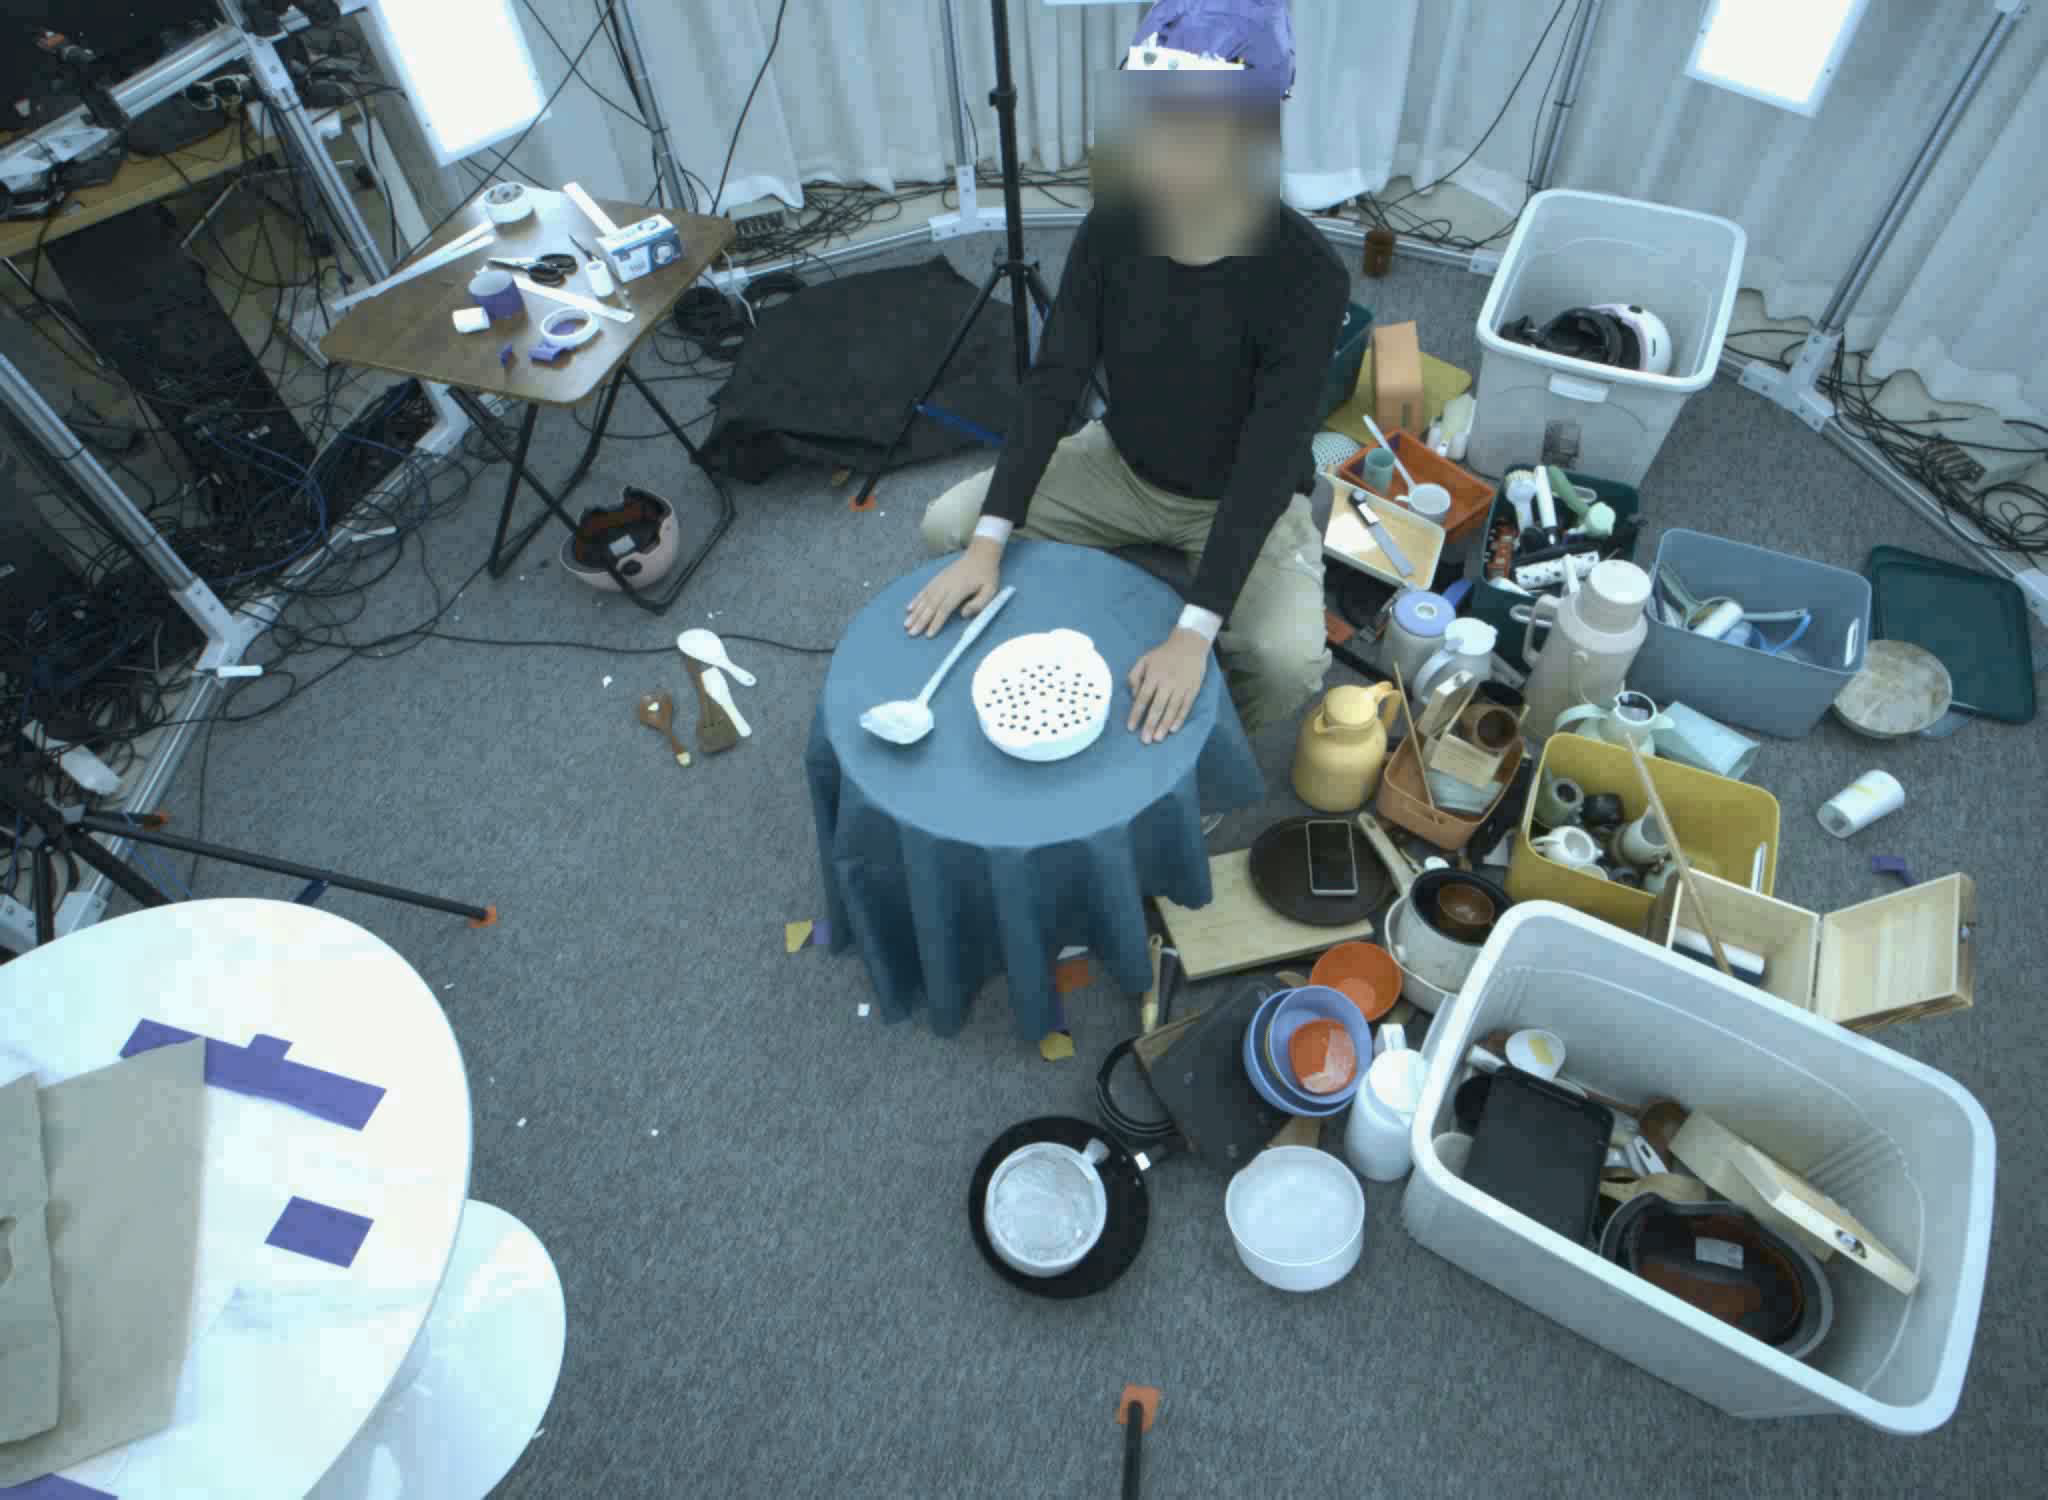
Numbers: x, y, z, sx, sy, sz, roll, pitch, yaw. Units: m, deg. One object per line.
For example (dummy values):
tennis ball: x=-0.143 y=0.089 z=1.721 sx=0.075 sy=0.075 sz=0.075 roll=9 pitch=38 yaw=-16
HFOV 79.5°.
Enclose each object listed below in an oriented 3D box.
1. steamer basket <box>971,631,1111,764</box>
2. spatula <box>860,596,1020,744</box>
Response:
steamer basket: x=0.025 y=-0.072 z=1.795 sx=0.199 sy=0.070 sz=0.231 roll=23 pitch=57 yaw=16
spatula: x=-0.112 y=-0.135 z=1.864 sx=0.097 sy=0.045 sz=0.366 roll=24 pitch=59 yaw=21
